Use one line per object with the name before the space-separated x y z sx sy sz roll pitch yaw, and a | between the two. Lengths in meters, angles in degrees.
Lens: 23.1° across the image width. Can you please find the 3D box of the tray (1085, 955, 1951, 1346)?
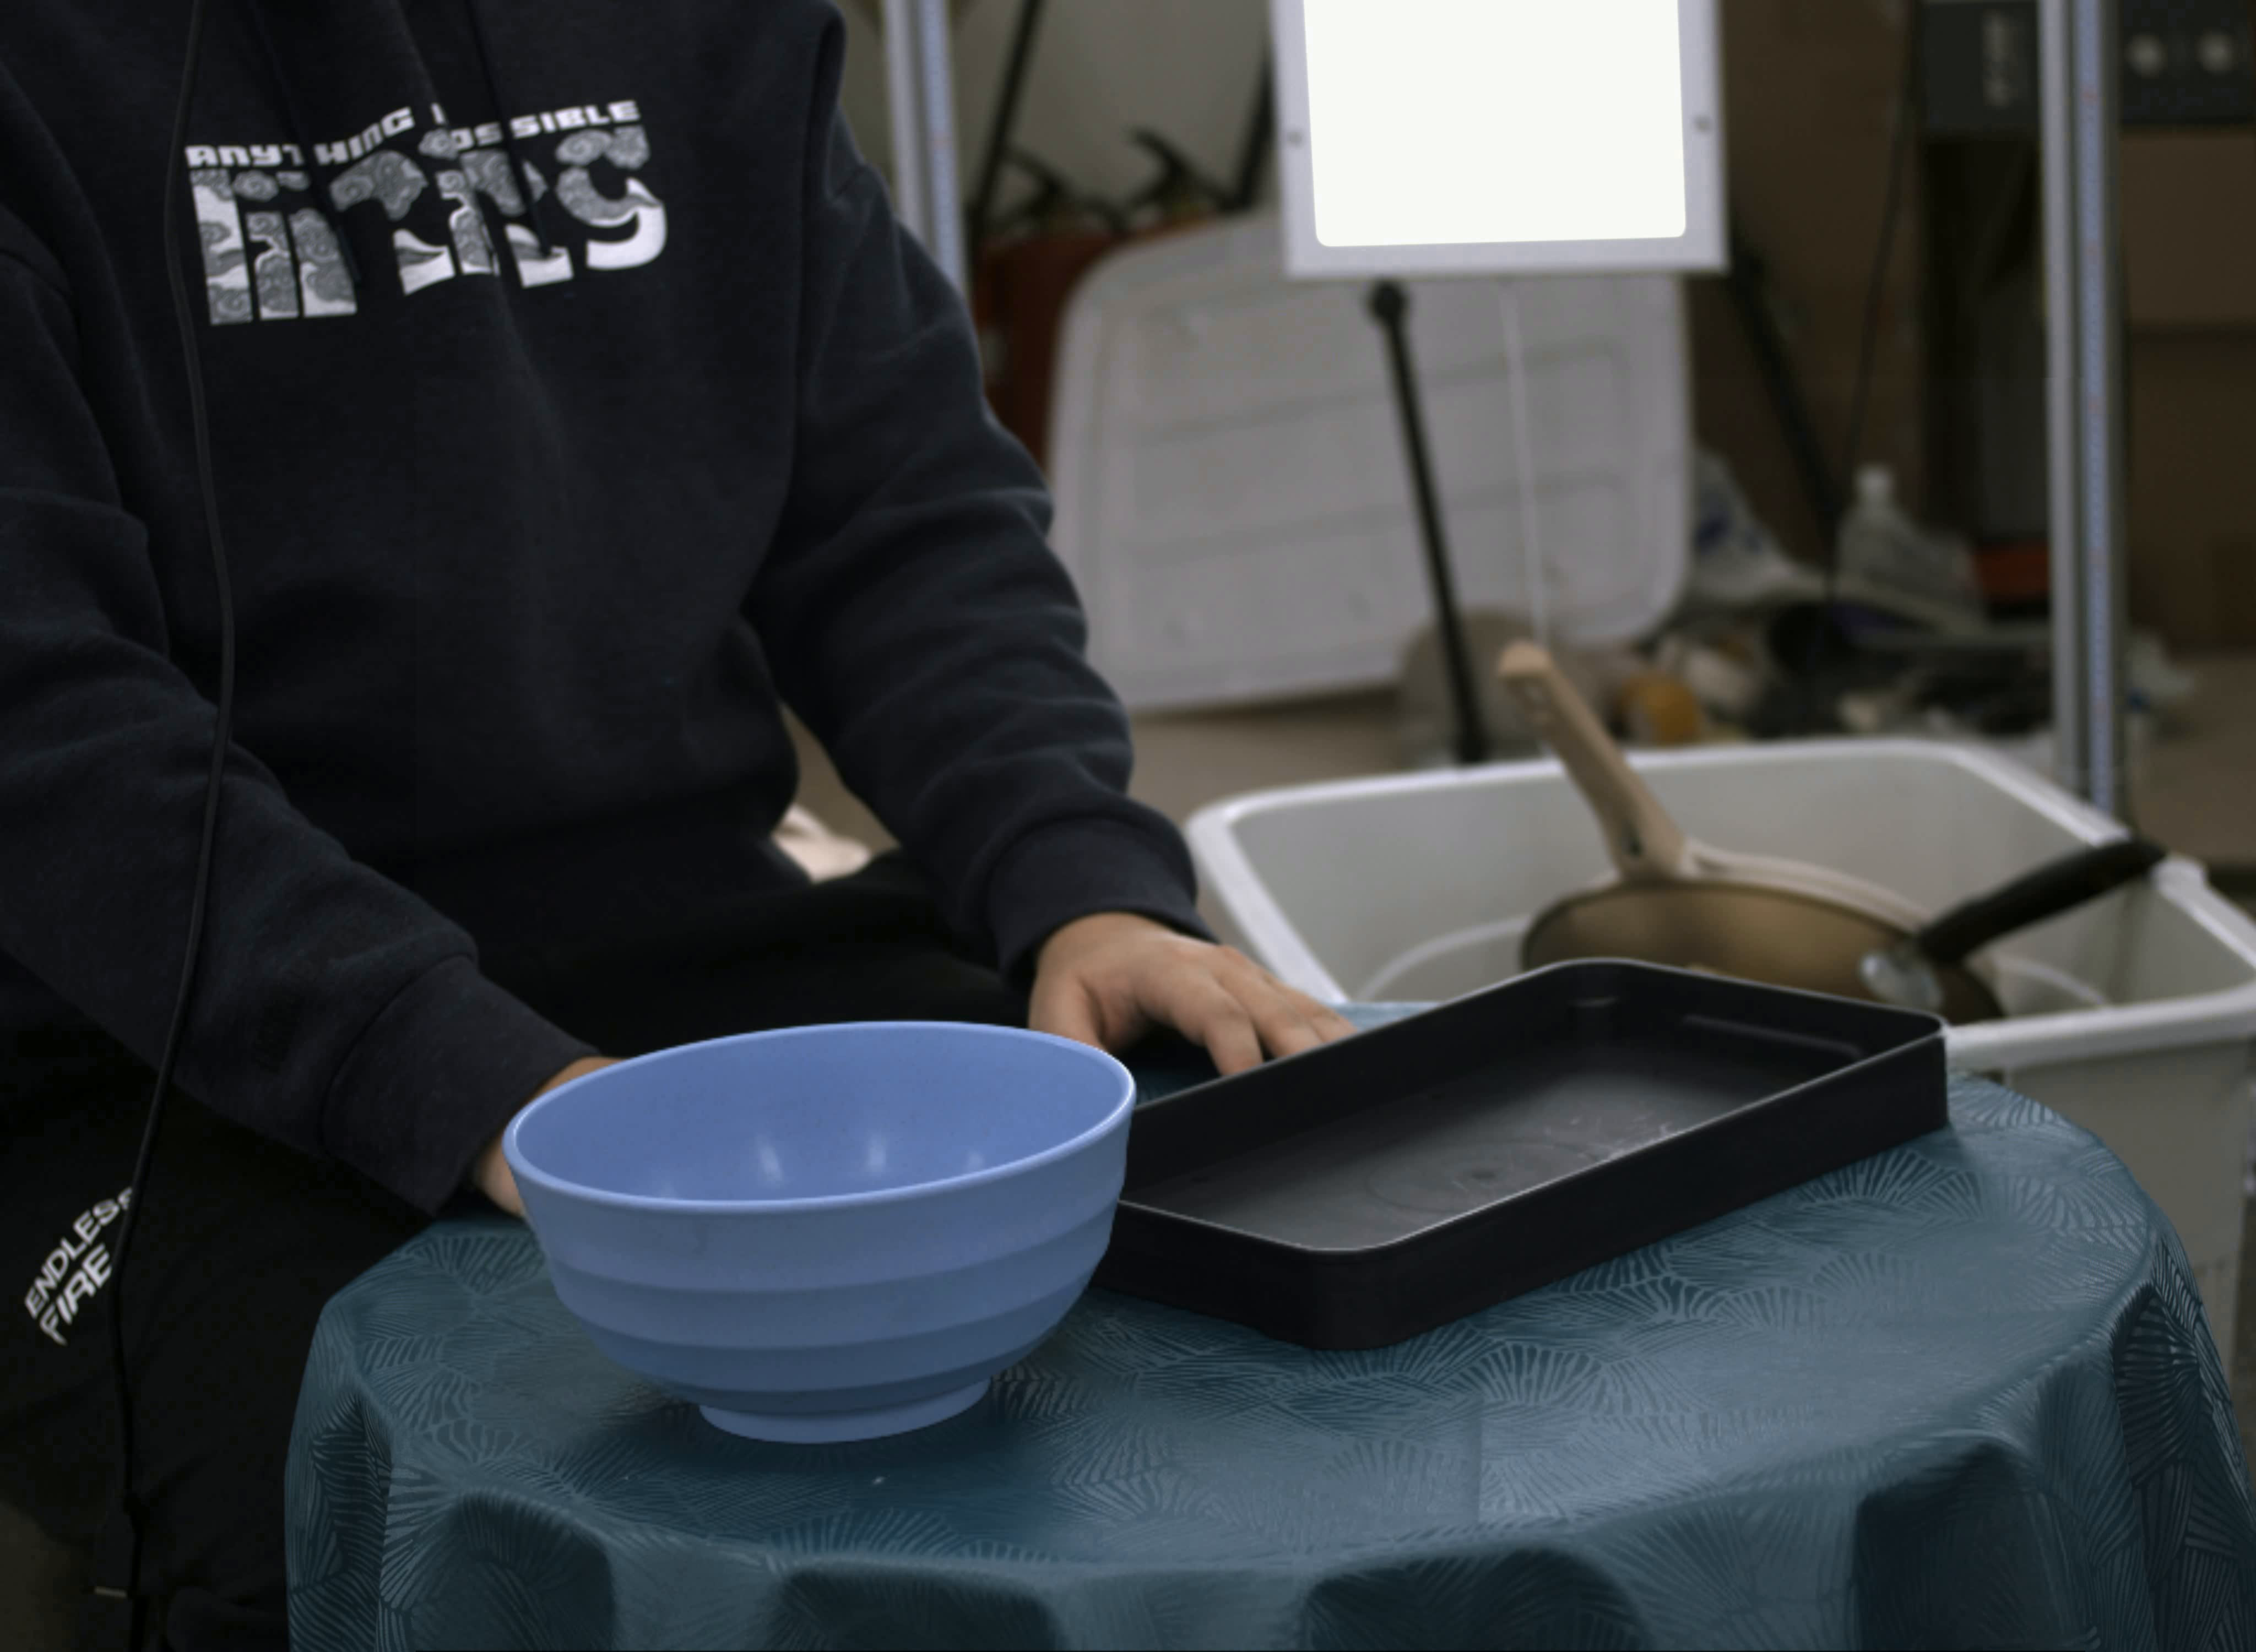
tray | 0.120 0.105 1.865 0.310 0.037 0.188 -16 17 -40

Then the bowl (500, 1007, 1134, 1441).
bowl | -0.092 0.129 1.708 0.196 0.096 0.196 -6 16 0
